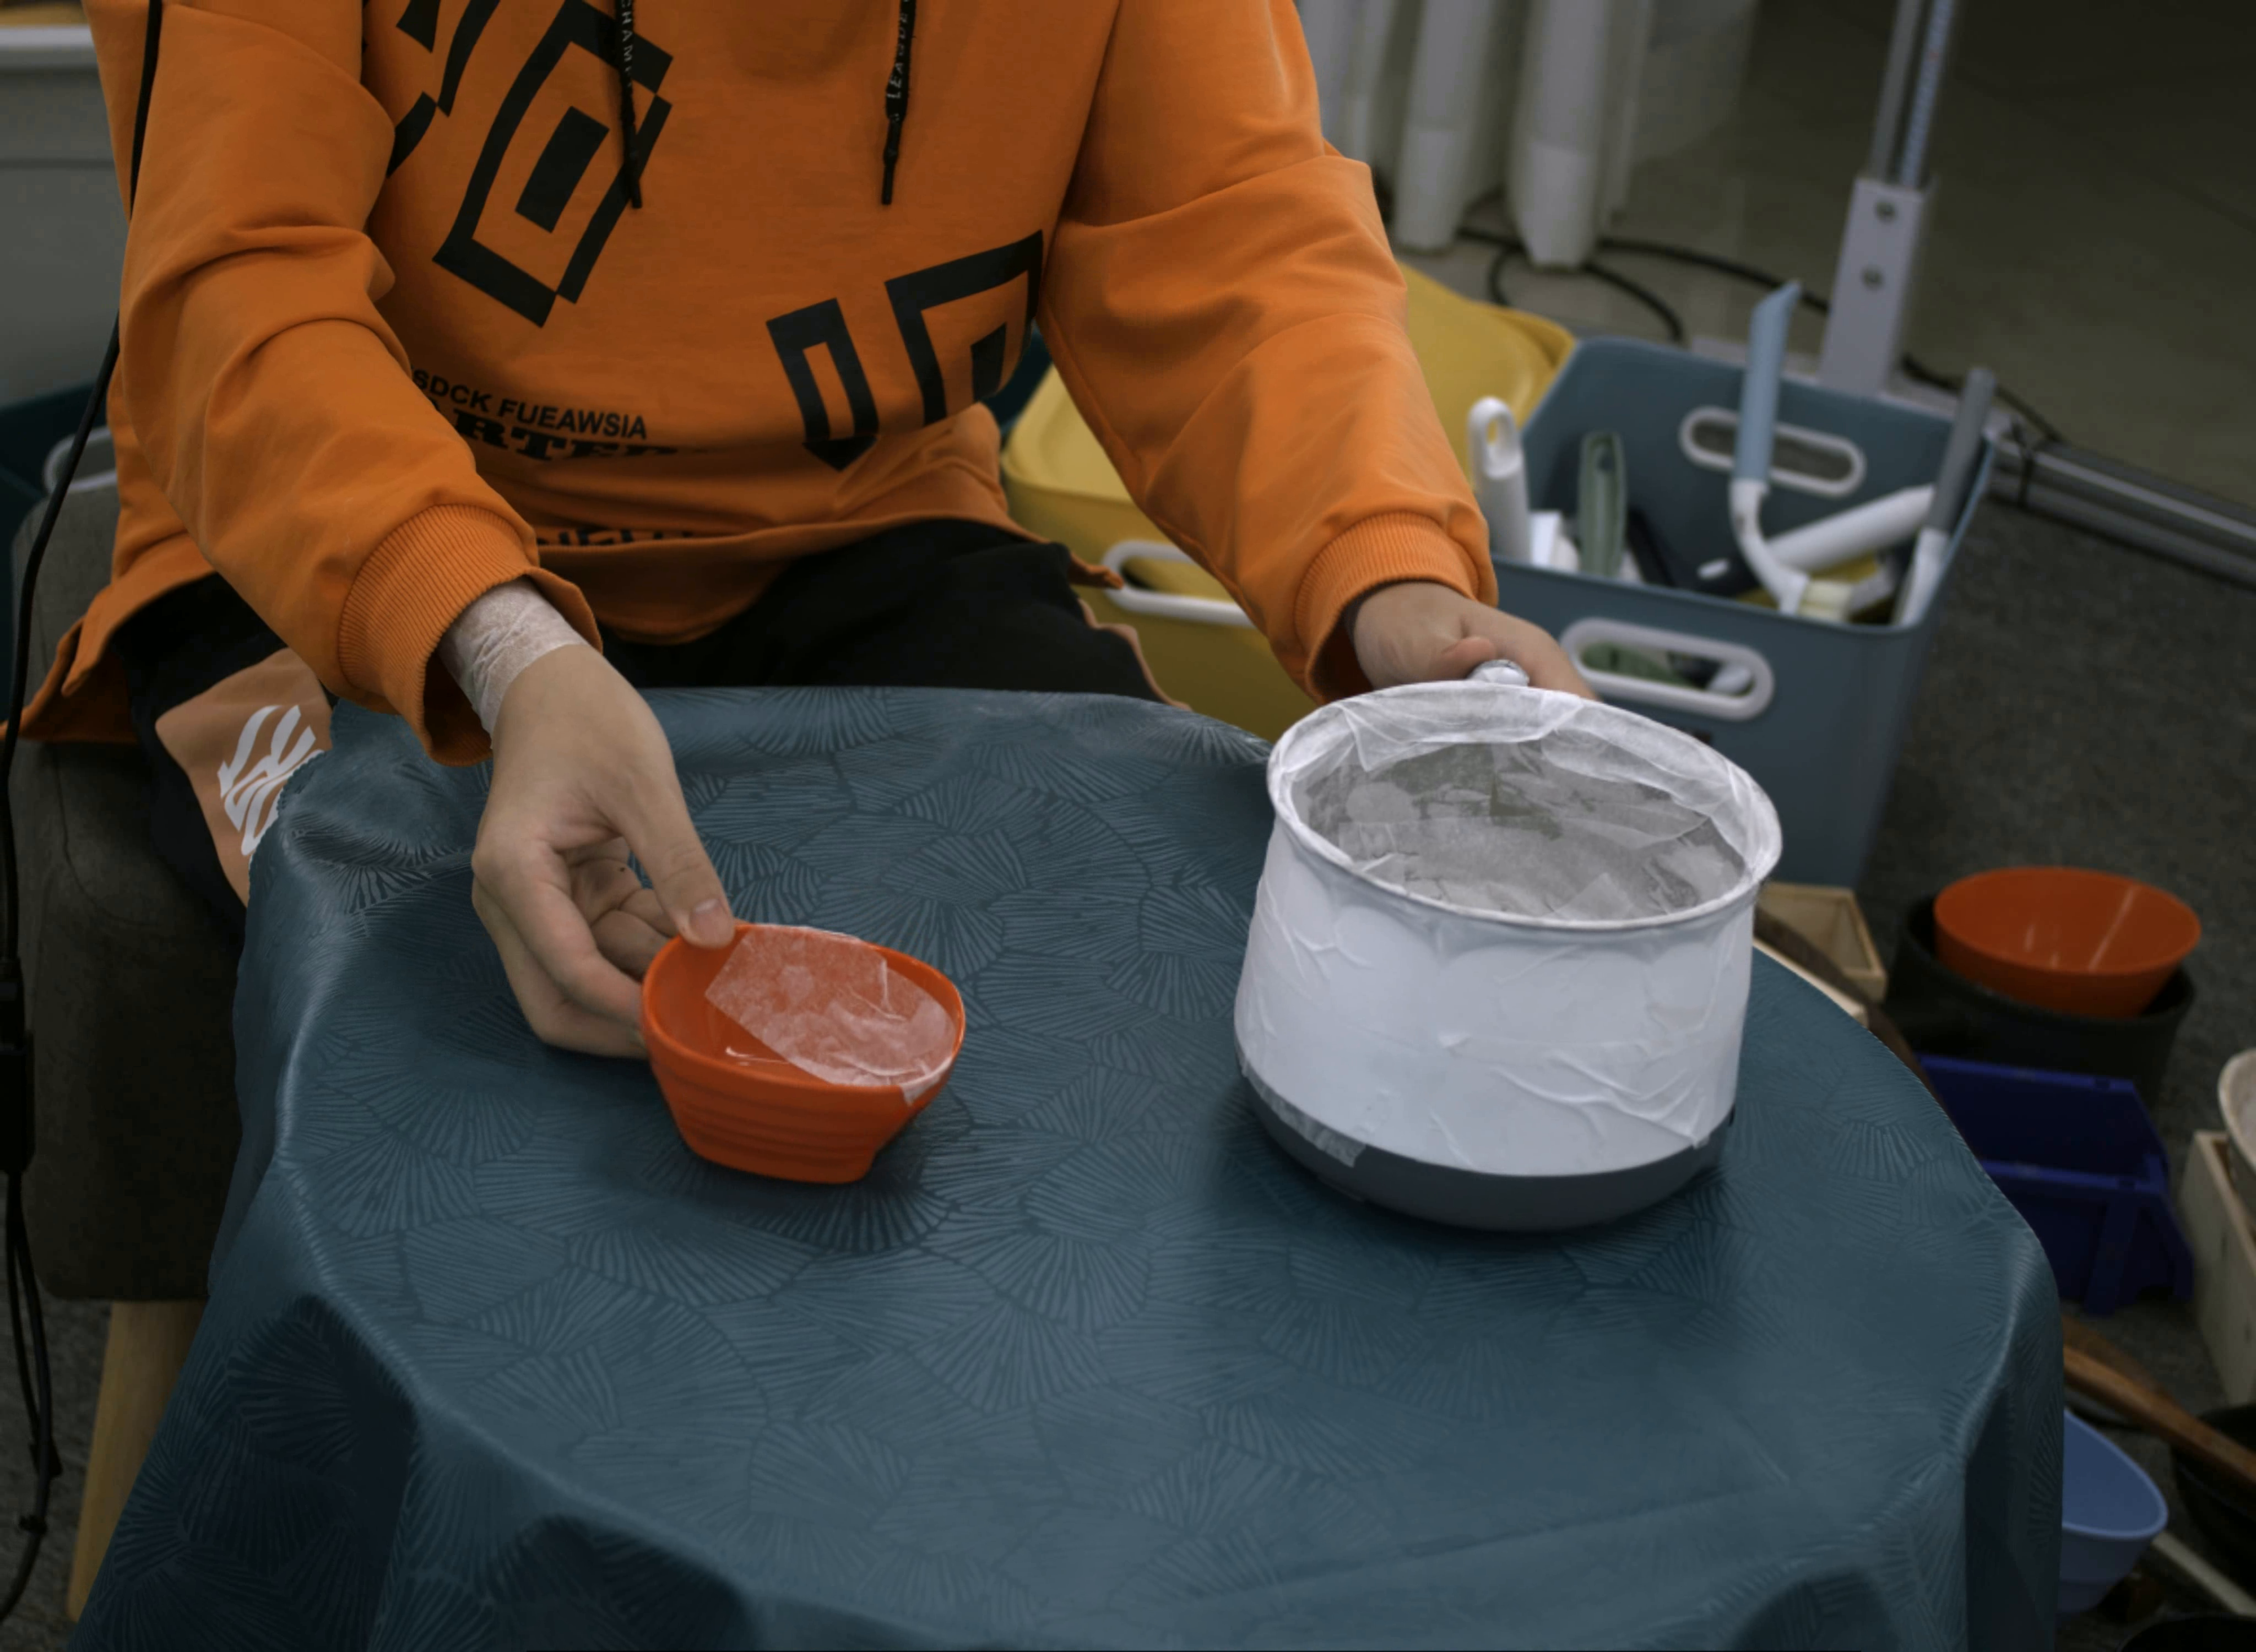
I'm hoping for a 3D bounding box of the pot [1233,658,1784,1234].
[{"bbox_3d":[0.126,0.034,1.856,0.178,0.136,0.235,5,27,-5],"label":"pot"}]

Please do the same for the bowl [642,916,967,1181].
[{"bbox_3d":[-0.112,0.080,1.800,0.118,0.051,0.119,8,27,-5],"label":"bowl"}]
